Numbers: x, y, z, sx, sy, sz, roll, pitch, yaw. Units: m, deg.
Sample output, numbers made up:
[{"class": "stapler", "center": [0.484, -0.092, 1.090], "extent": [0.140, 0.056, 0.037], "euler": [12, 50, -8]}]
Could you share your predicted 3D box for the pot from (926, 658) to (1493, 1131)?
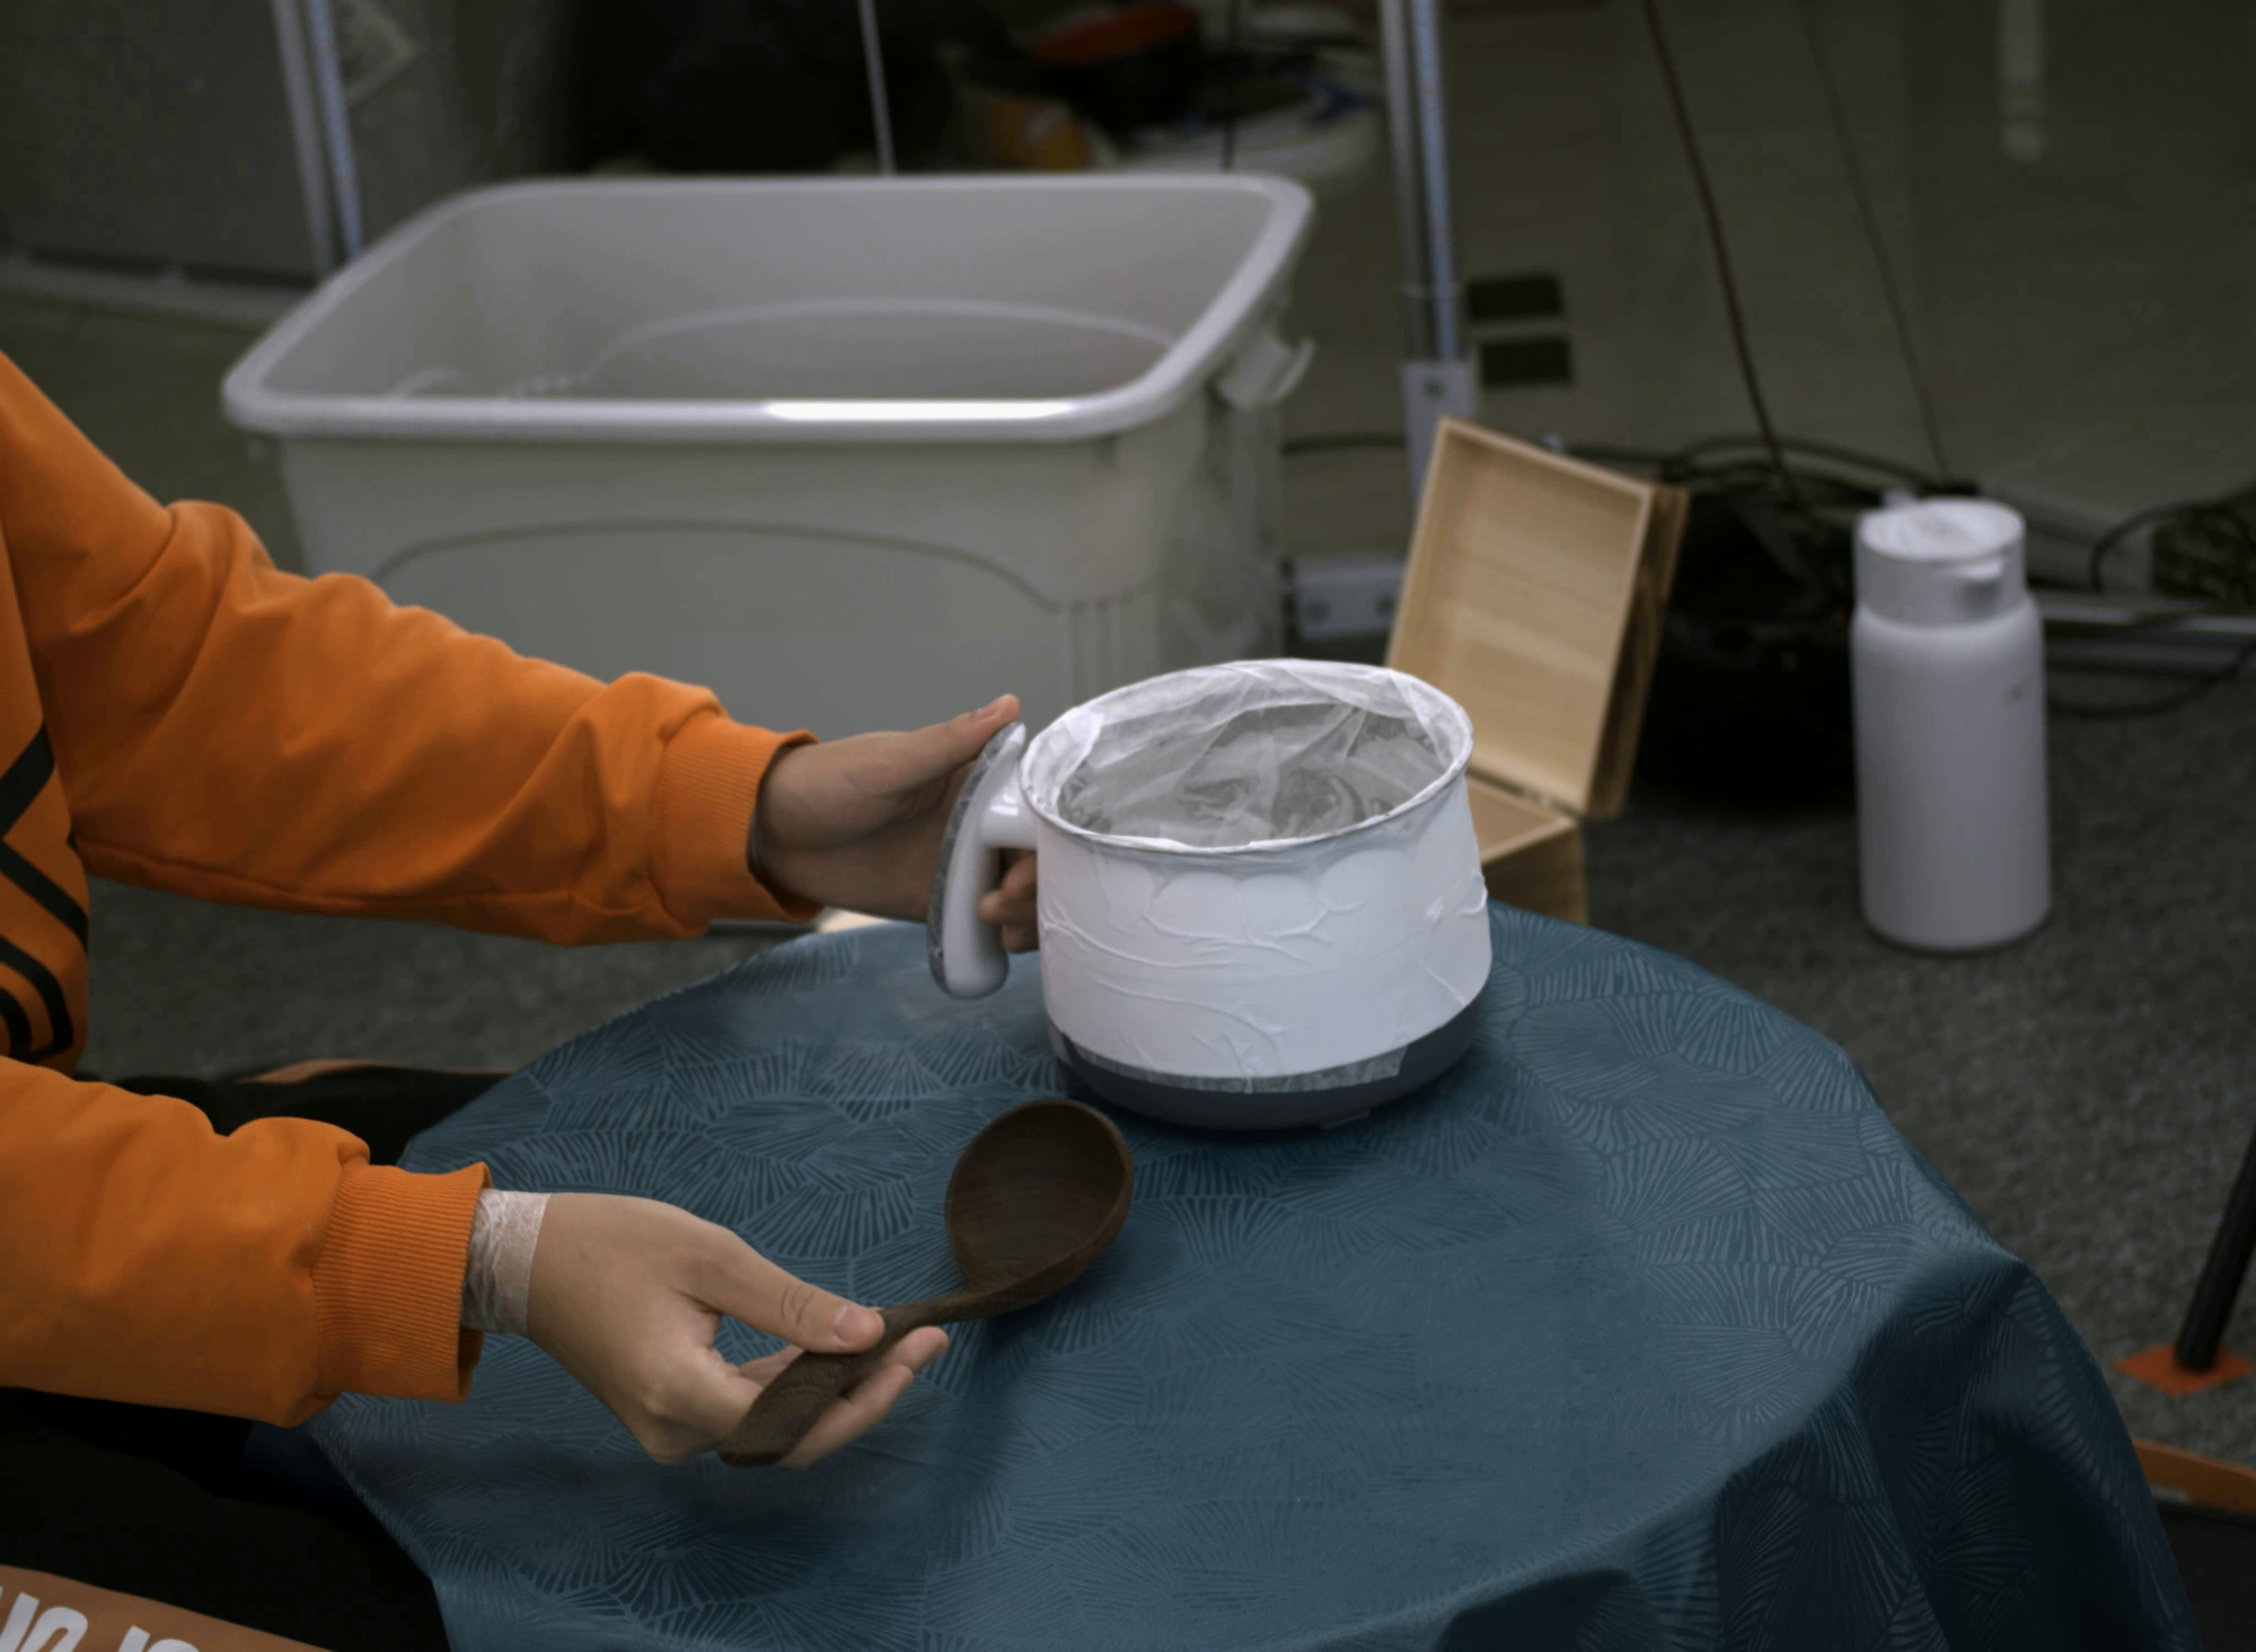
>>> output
[{"class": "pot", "center": [0.026, 0.026, 2.216], "extent": [0.233, 0.139, 0.176], "euler": [5, 27, 22]}]

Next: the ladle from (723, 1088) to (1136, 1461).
[{"class": "ladle", "center": [-0.075, 0.153, 1.998], "extent": [0.076, 0.072, 0.272], "euler": [-7, 7, 25]}]
